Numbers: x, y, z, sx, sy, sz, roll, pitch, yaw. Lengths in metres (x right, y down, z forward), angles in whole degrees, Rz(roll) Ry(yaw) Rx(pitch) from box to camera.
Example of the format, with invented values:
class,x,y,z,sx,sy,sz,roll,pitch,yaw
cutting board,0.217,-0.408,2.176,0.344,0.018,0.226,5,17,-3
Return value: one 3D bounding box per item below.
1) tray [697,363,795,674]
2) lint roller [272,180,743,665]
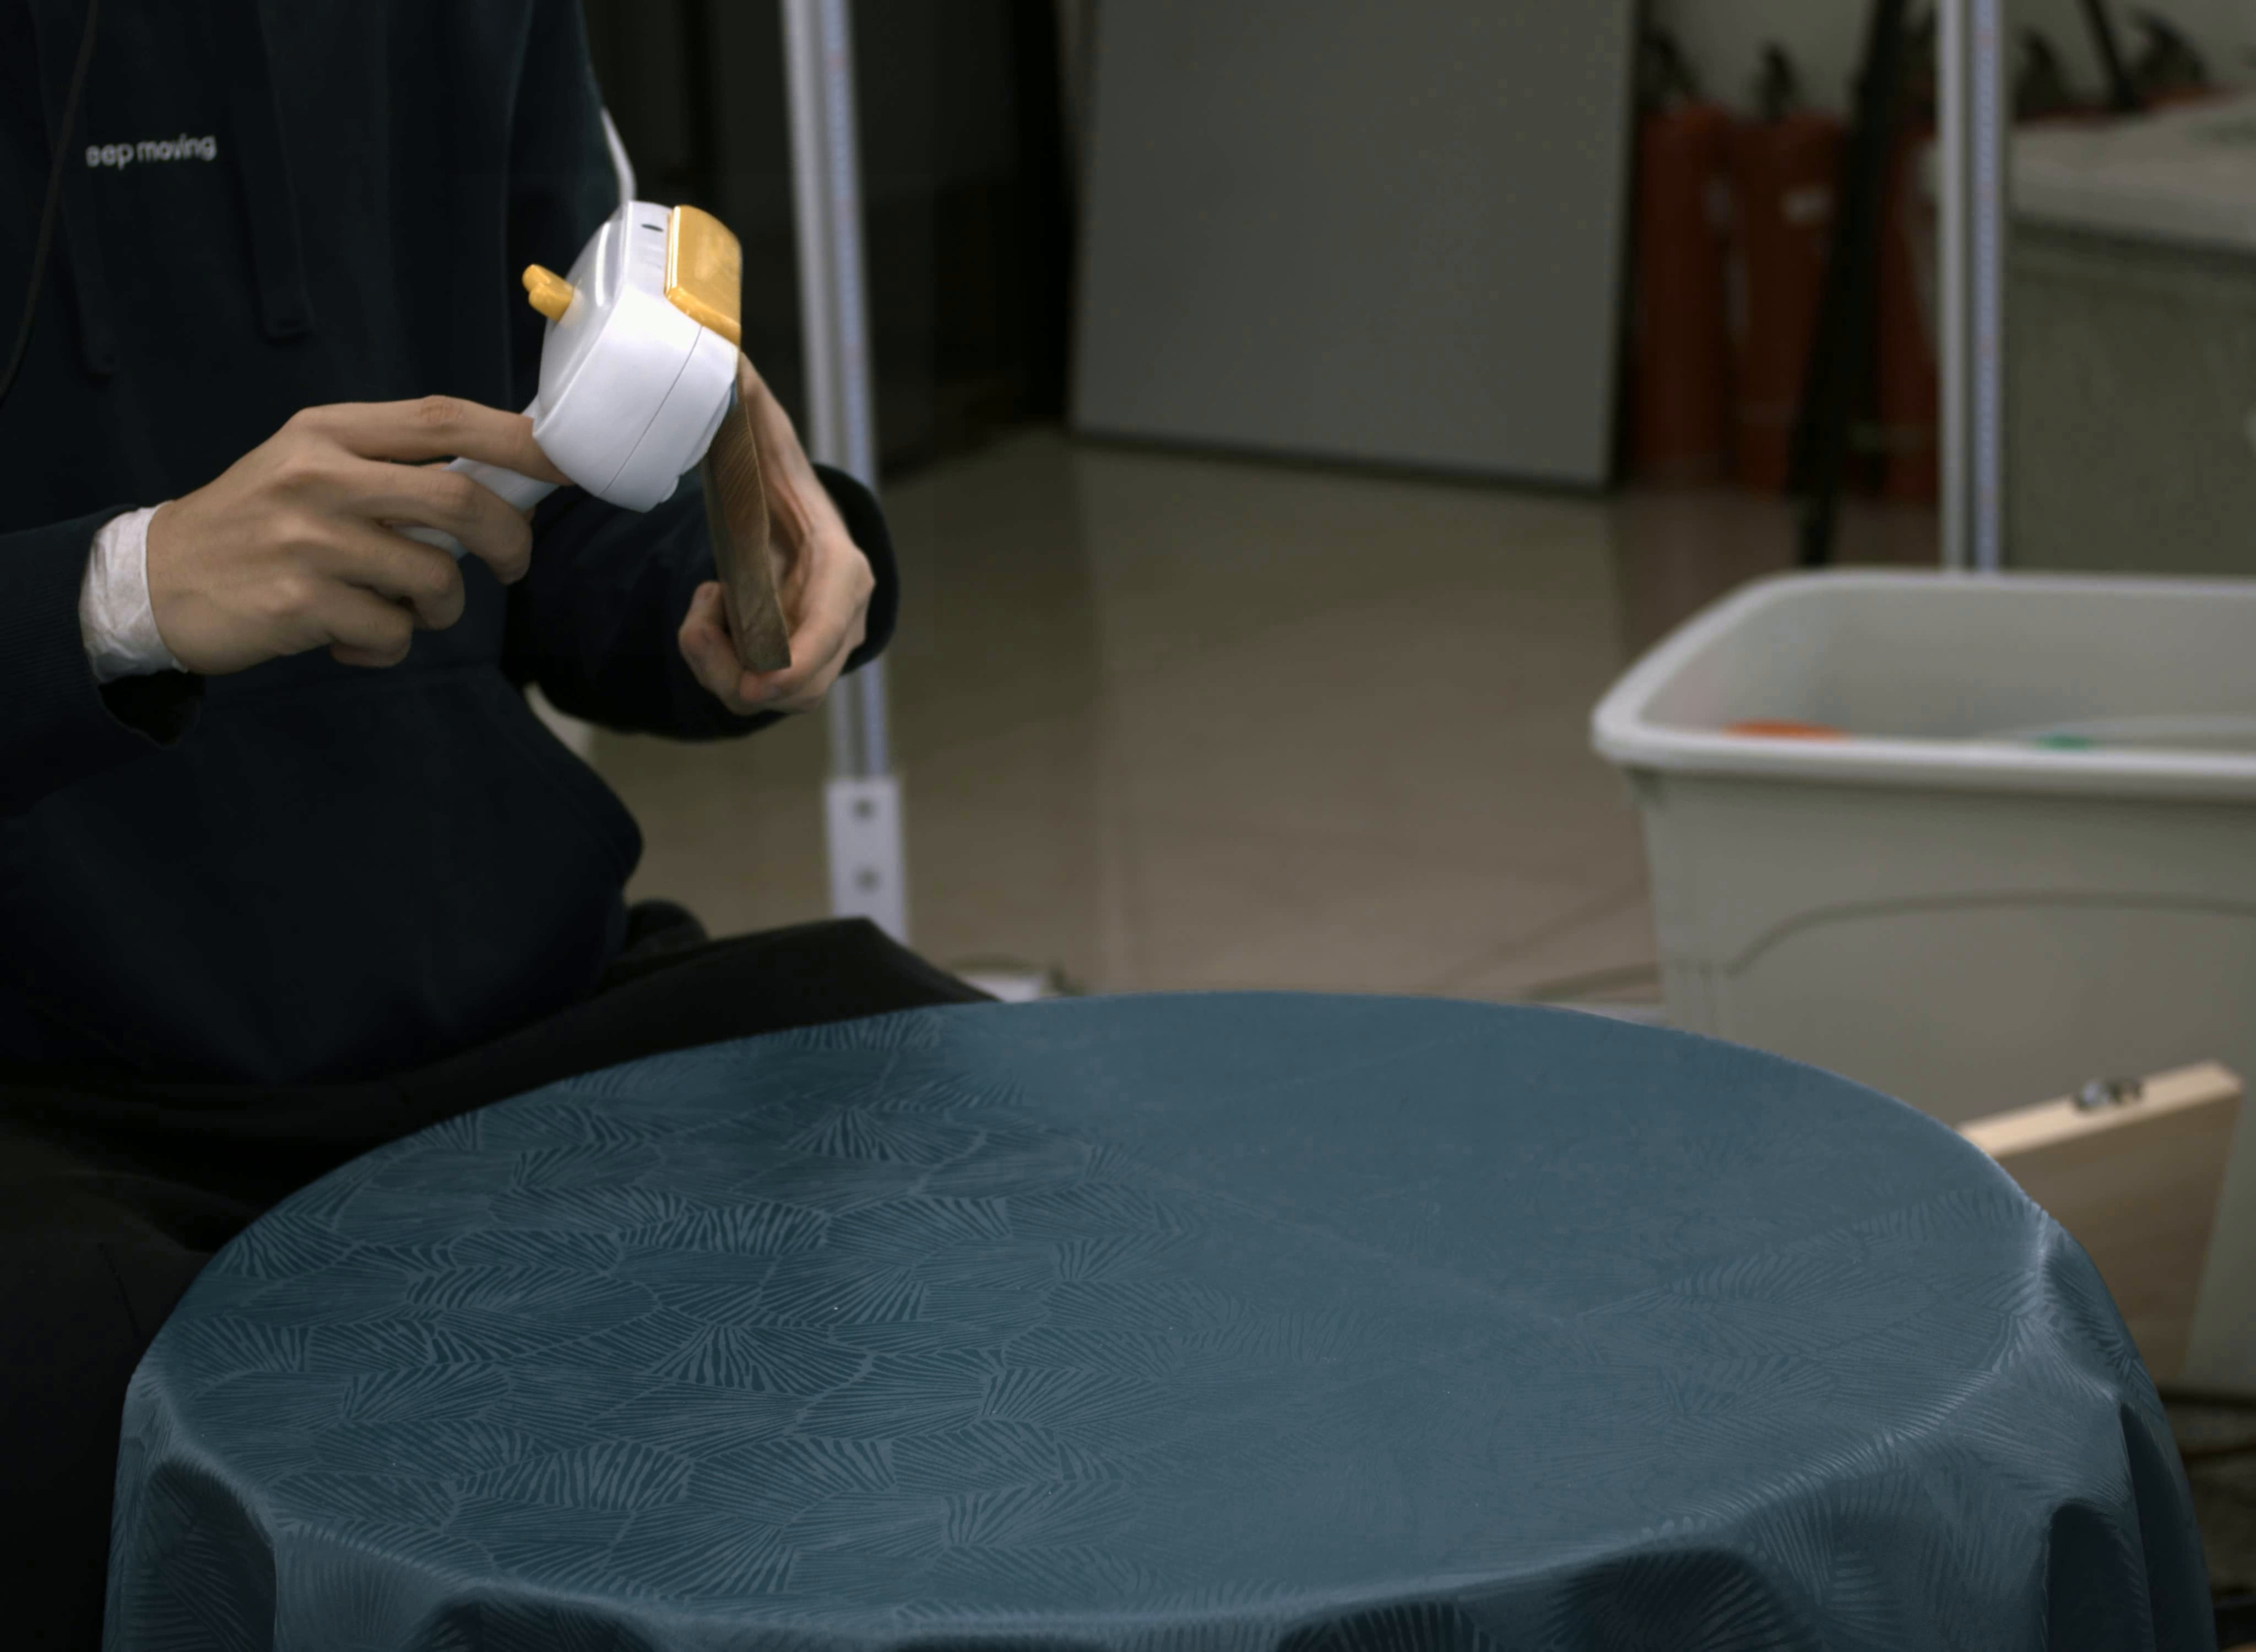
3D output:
class,x,y,z,sx,sy,sz,roll,pitch,yaw
tray,-0.132,-0.102,1.845,0.020,0.103,0.232,-9,3,-5
lint roller,-0.201,-0.120,1.772,0.073,0.193,0.194,36,8,-19
